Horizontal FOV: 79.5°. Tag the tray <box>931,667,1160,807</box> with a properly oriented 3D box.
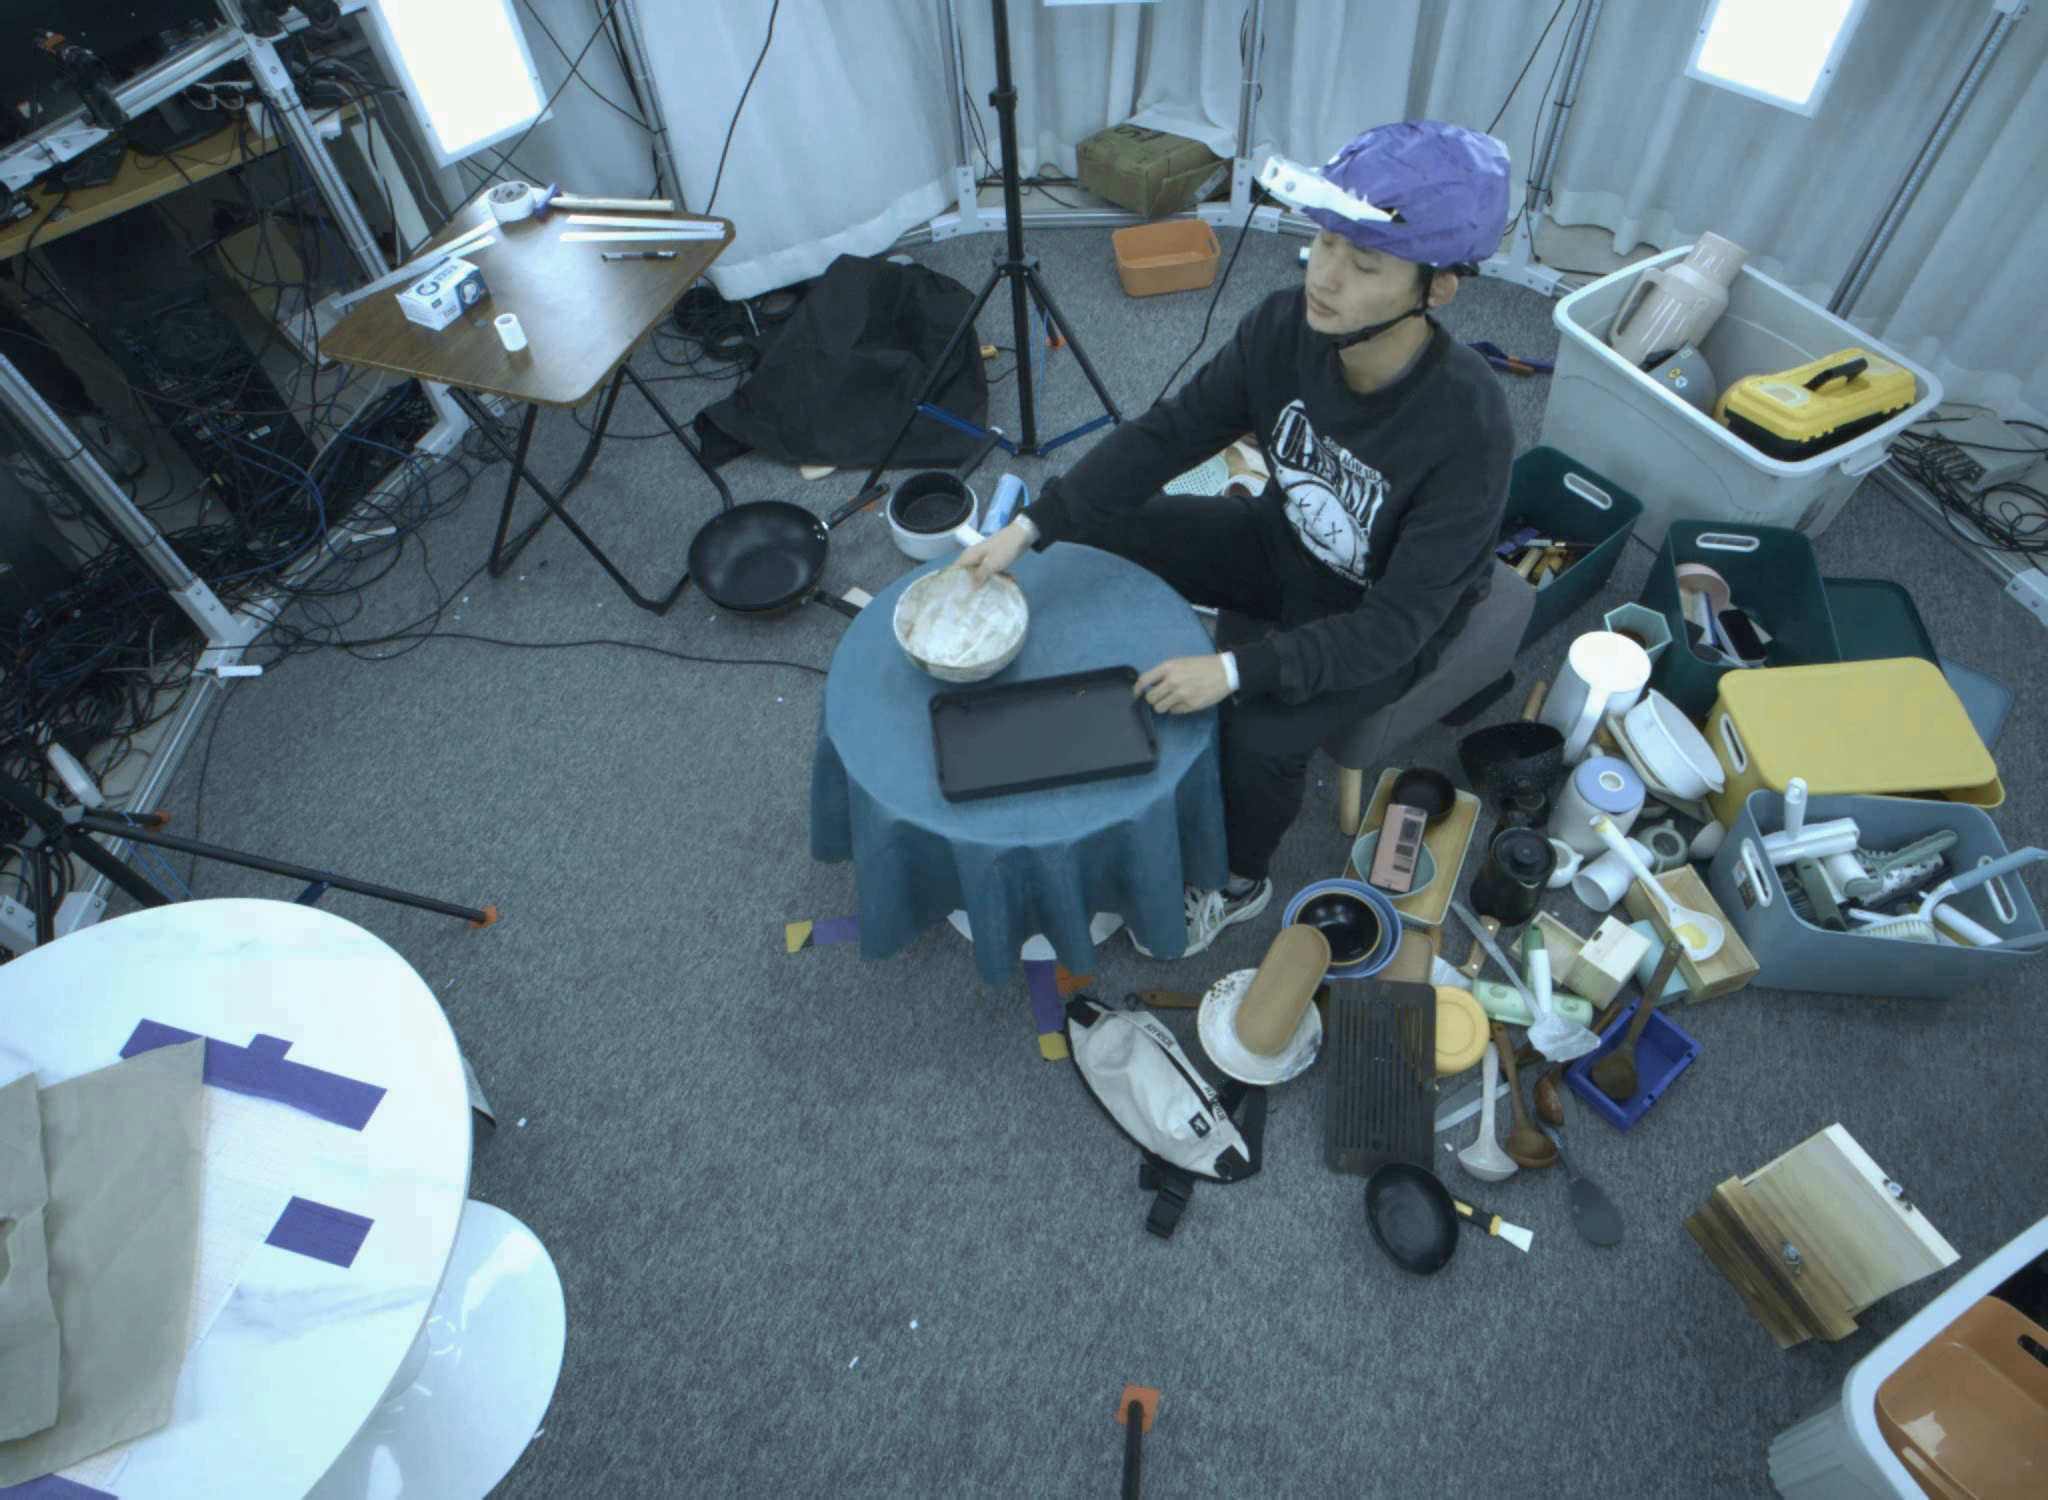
[{"bbox_3d":[0.029,-0.020,1.792,0.318,0.037,0.182,-8,56,-2],"label":"tray"}]

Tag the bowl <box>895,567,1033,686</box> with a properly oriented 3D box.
[{"bbox_3d":[-0.087,-0.169,1.861,0.214,0.095,0.212,0,55,2],"label":"bowl"}]
